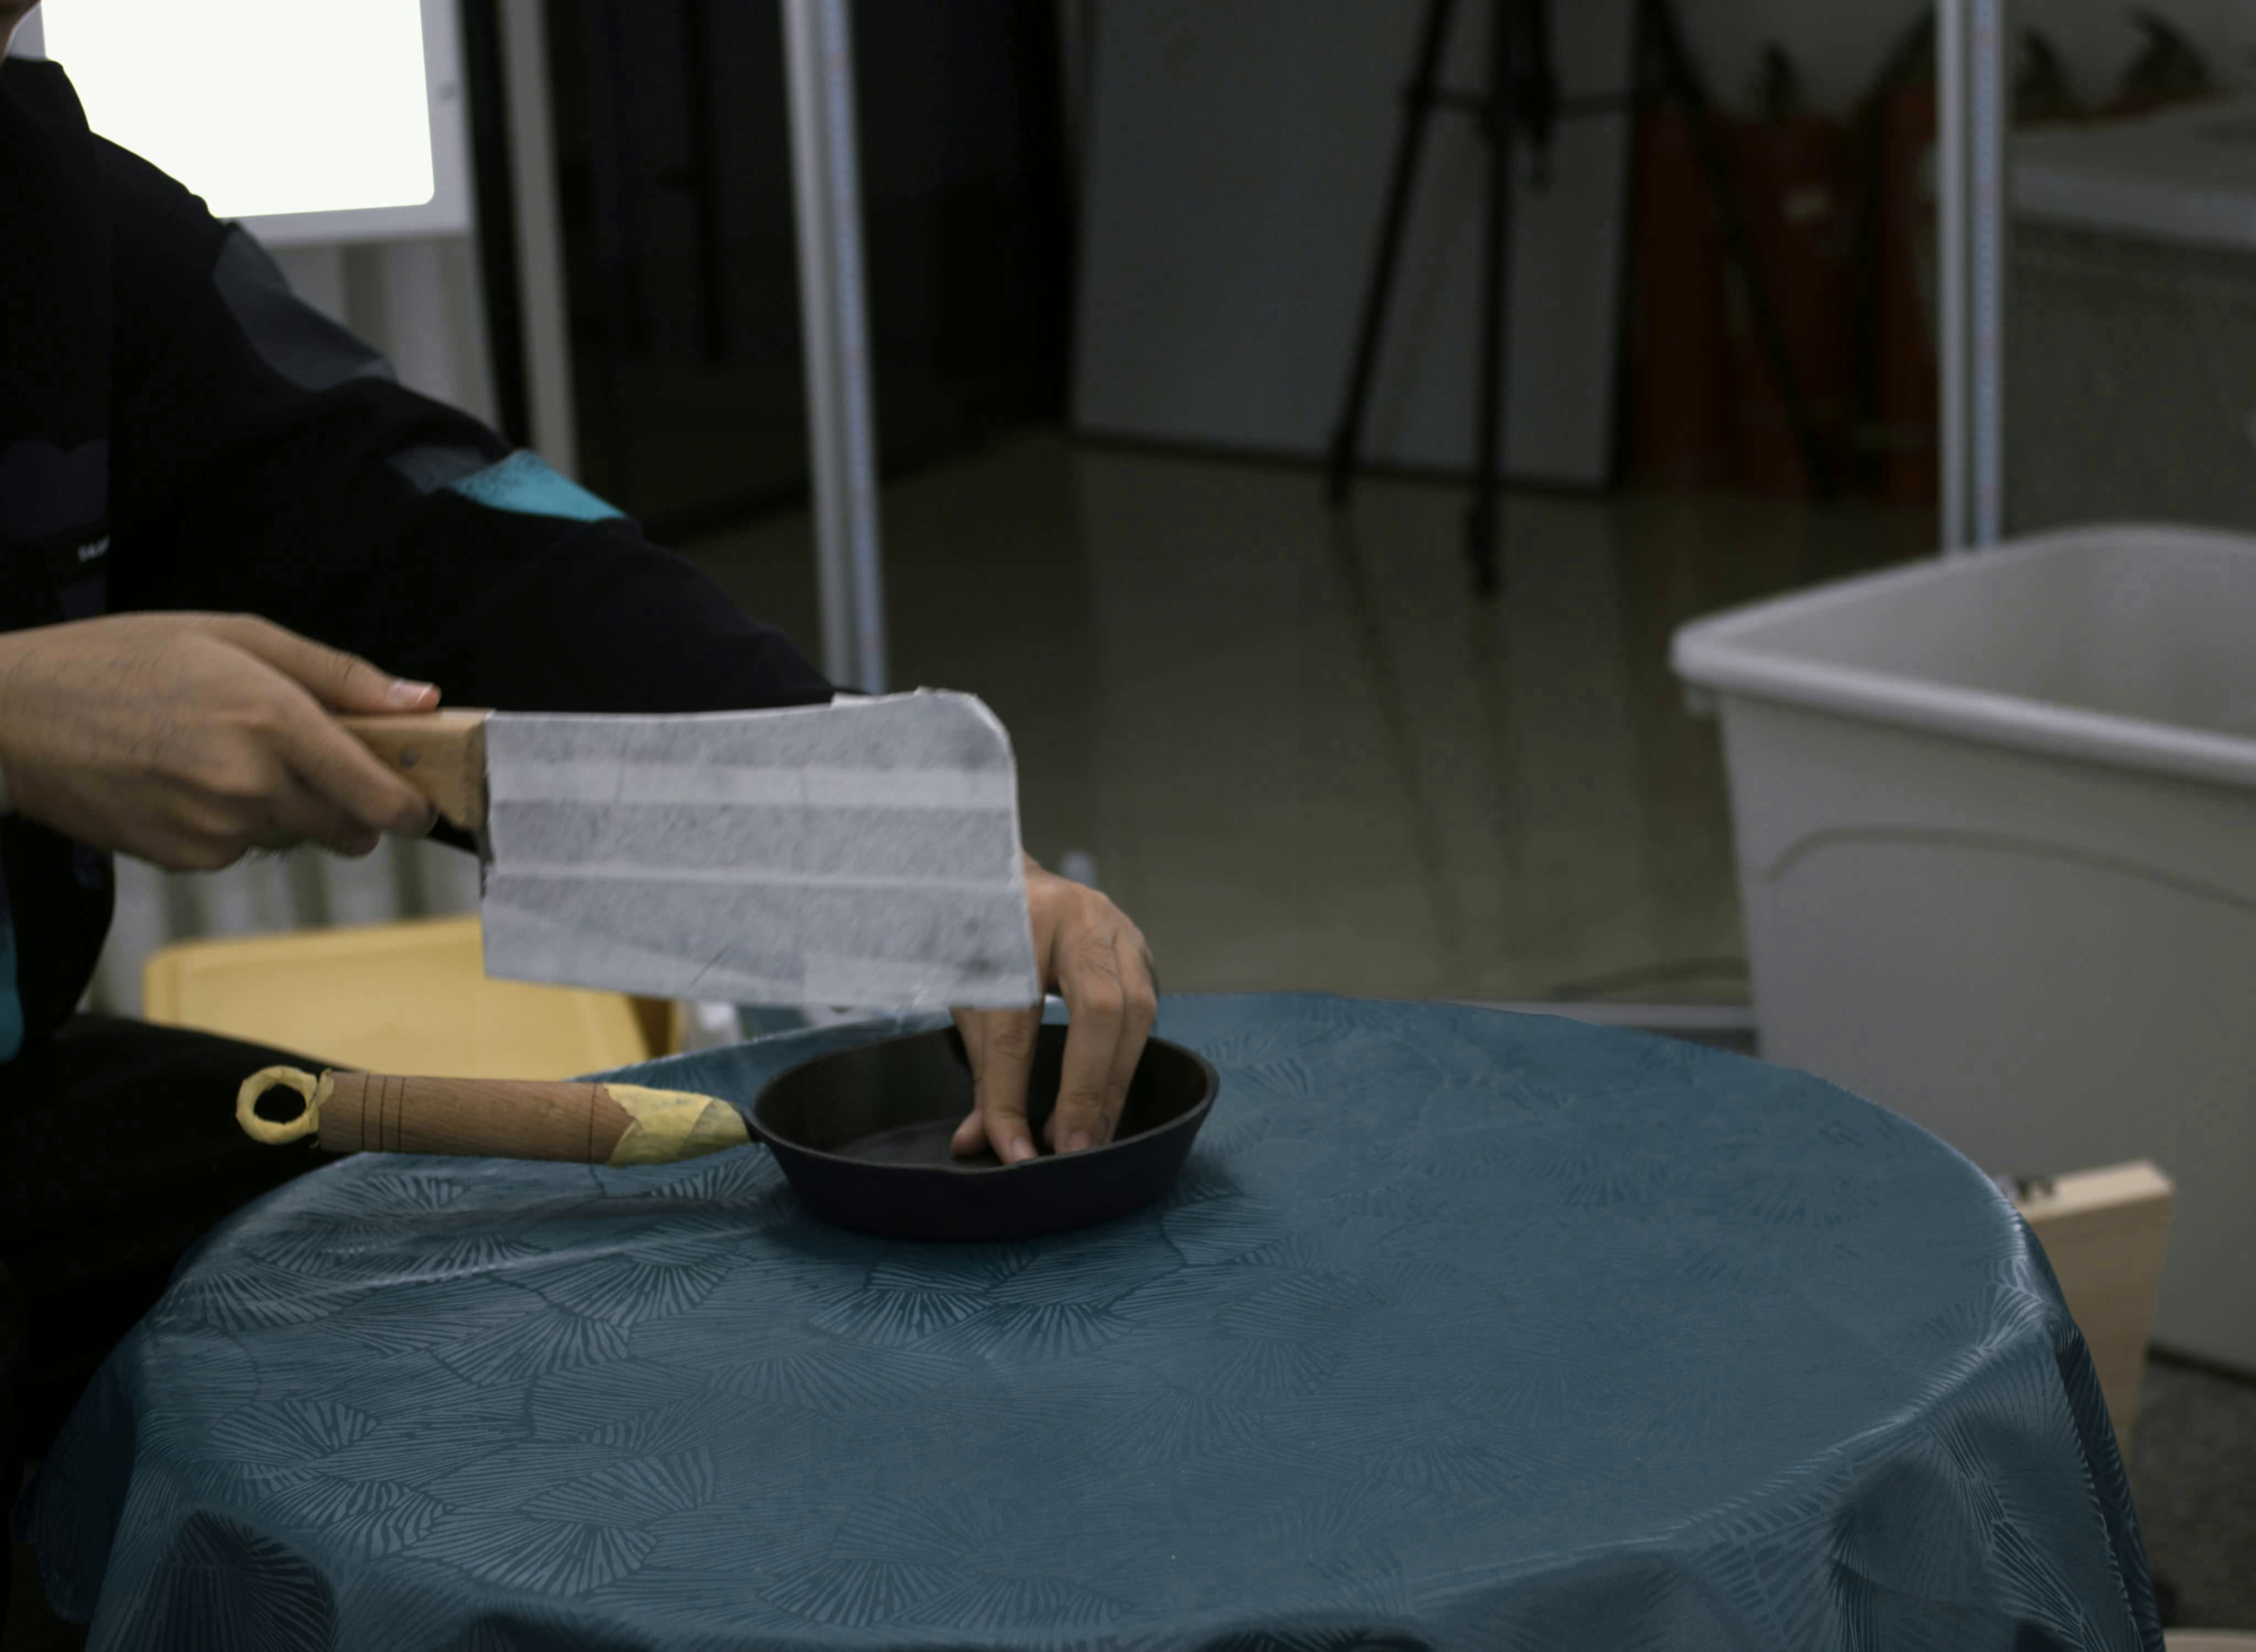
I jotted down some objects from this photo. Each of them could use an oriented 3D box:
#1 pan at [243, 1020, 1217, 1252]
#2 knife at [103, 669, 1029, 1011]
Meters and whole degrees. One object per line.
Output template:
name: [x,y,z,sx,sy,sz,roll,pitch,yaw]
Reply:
pan: [-0.130,0.102,1.784,0.320,0.050,0.169,-3,14,2]
knife: [-0.175,0.000,1.668,0.315,0.115,0.021,5,12,21]
